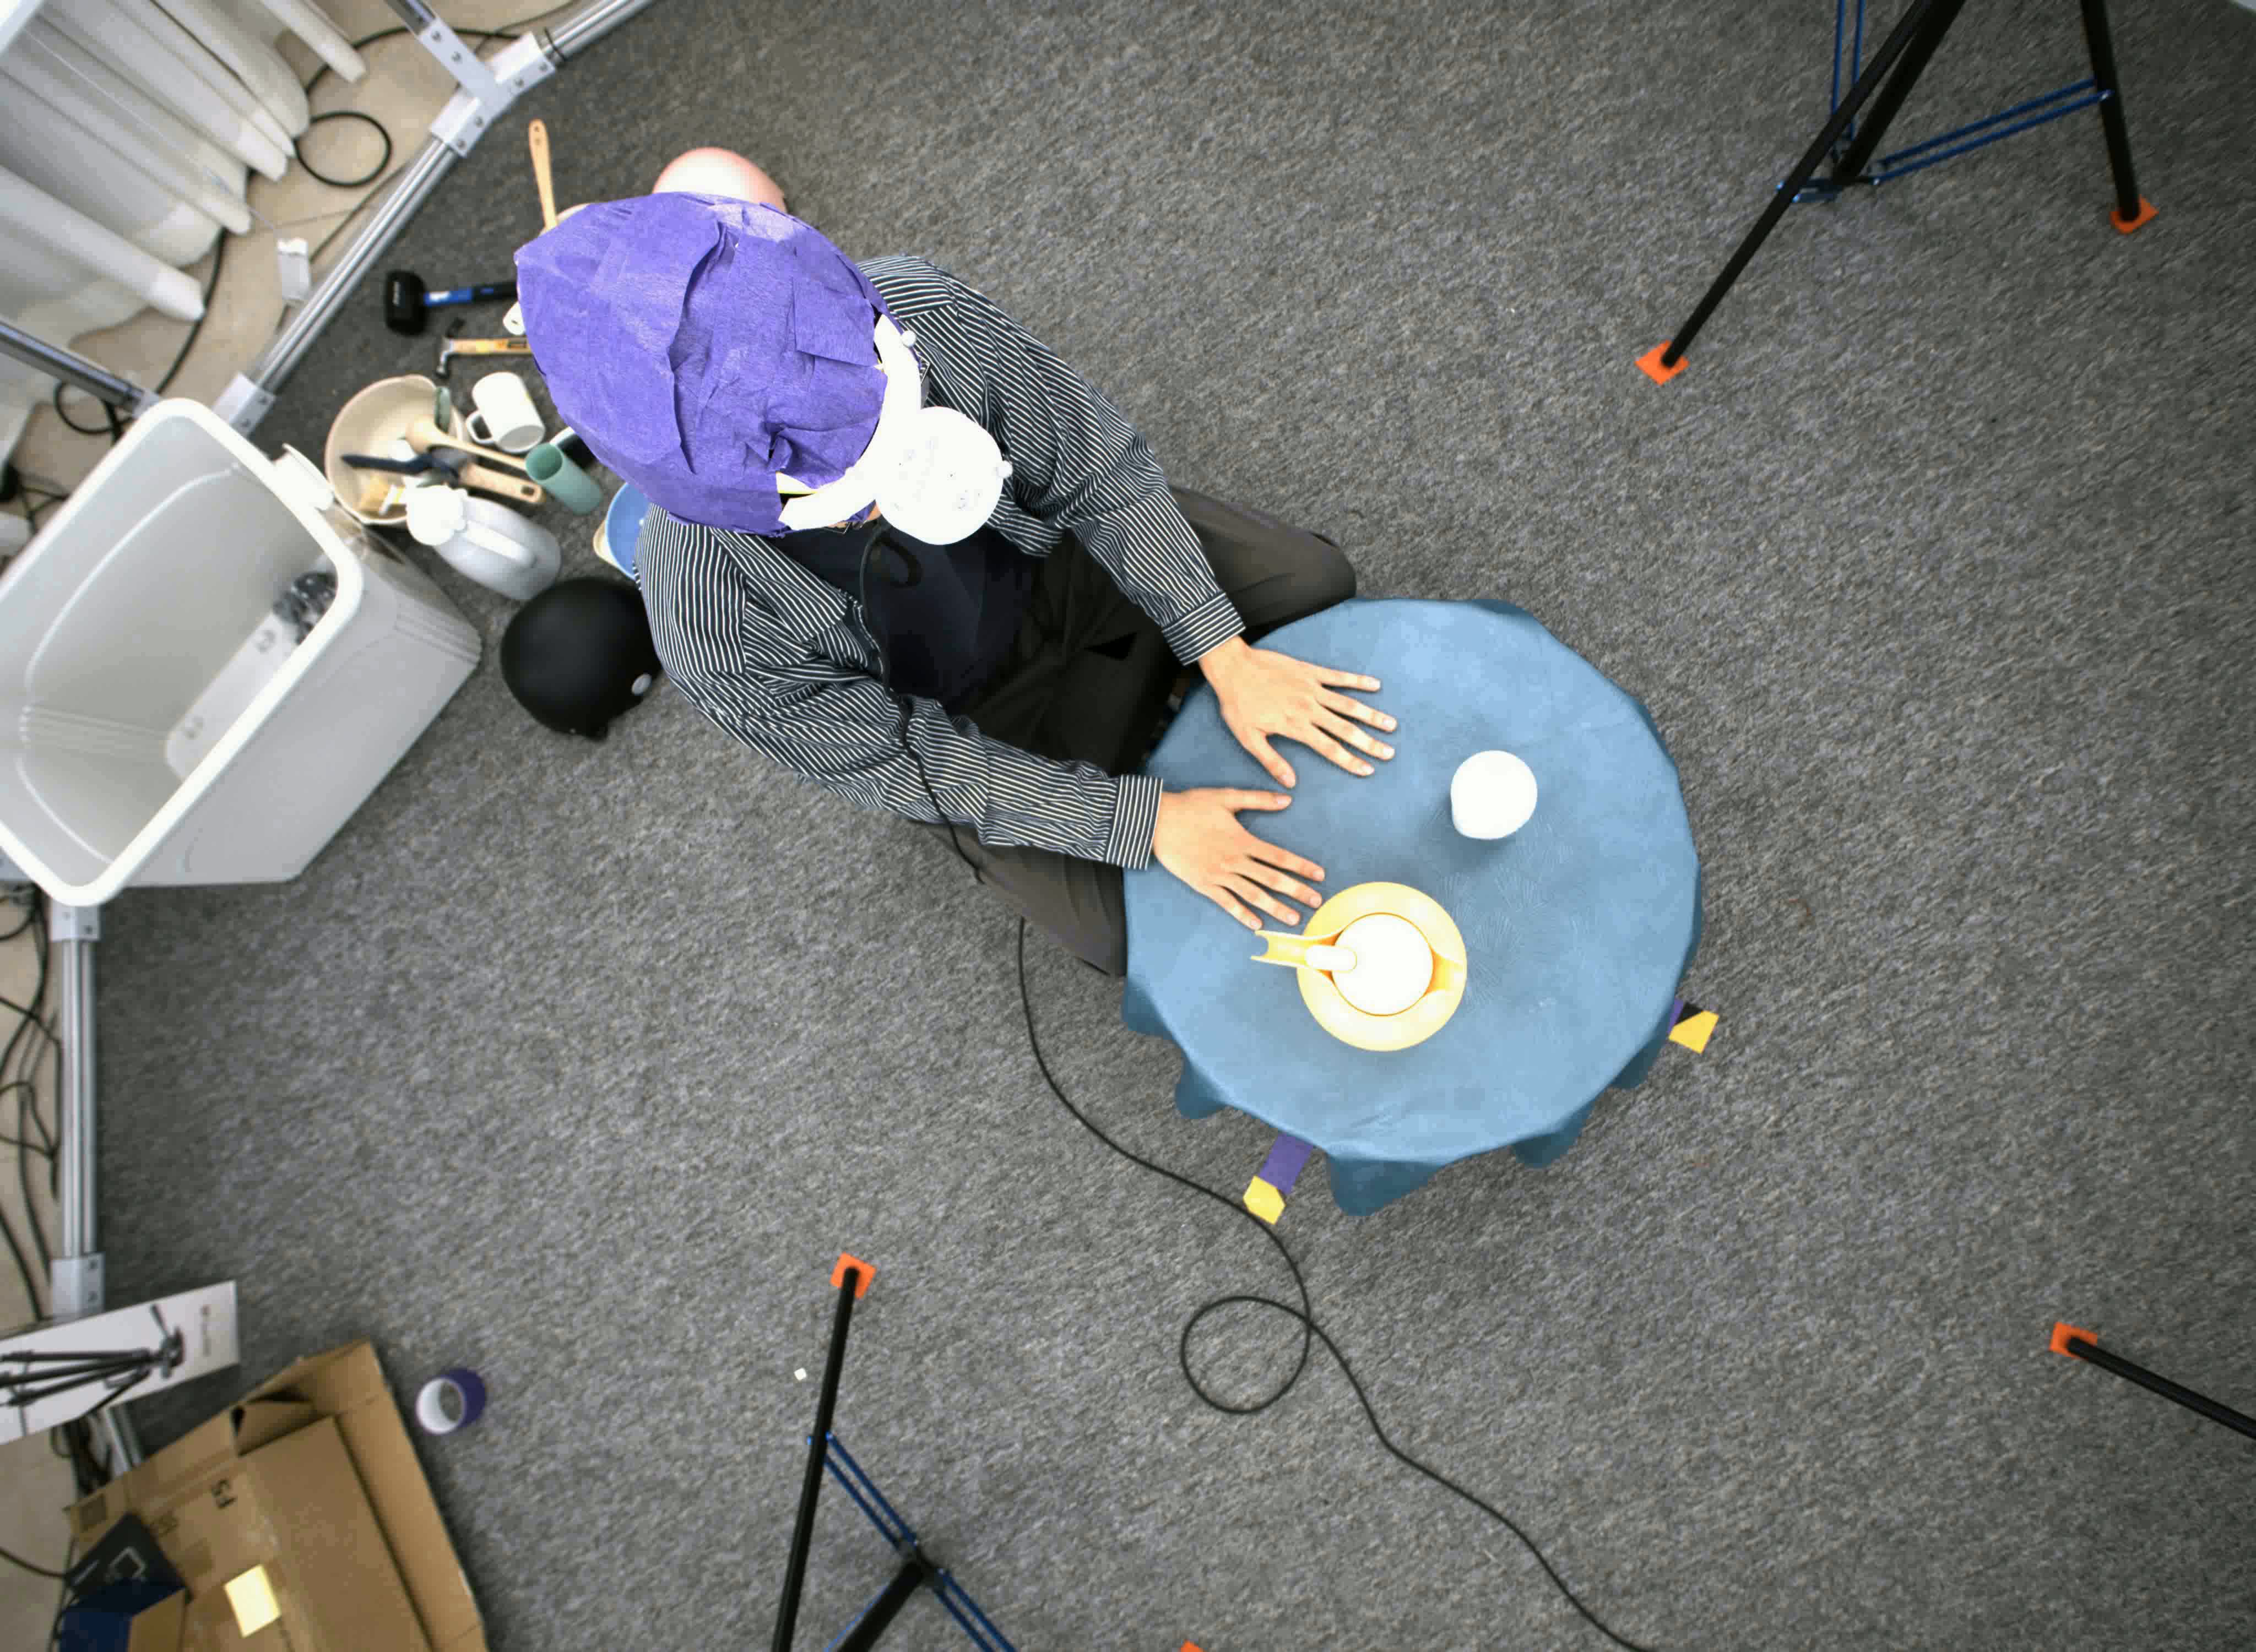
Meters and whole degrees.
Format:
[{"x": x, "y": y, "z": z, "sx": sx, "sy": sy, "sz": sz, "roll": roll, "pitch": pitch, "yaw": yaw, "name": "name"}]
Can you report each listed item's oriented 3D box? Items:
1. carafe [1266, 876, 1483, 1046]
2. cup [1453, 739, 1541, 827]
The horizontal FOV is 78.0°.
[{"x": 0.235, "y": 0.124, "z": 1.321, "sx": 0.203, "sy": 0.261, "sz": 0.163, "roll": 6, "pitch": 86, "yaw": 10, "name": "carafe"}, {"x": 0.364, "y": -0.040, "z": 1.370, "sx": 0.082, "sy": 0.125, "sz": 0.081, "roll": -1, "pitch": 86, "yaw": 10, "name": "cup"}]
